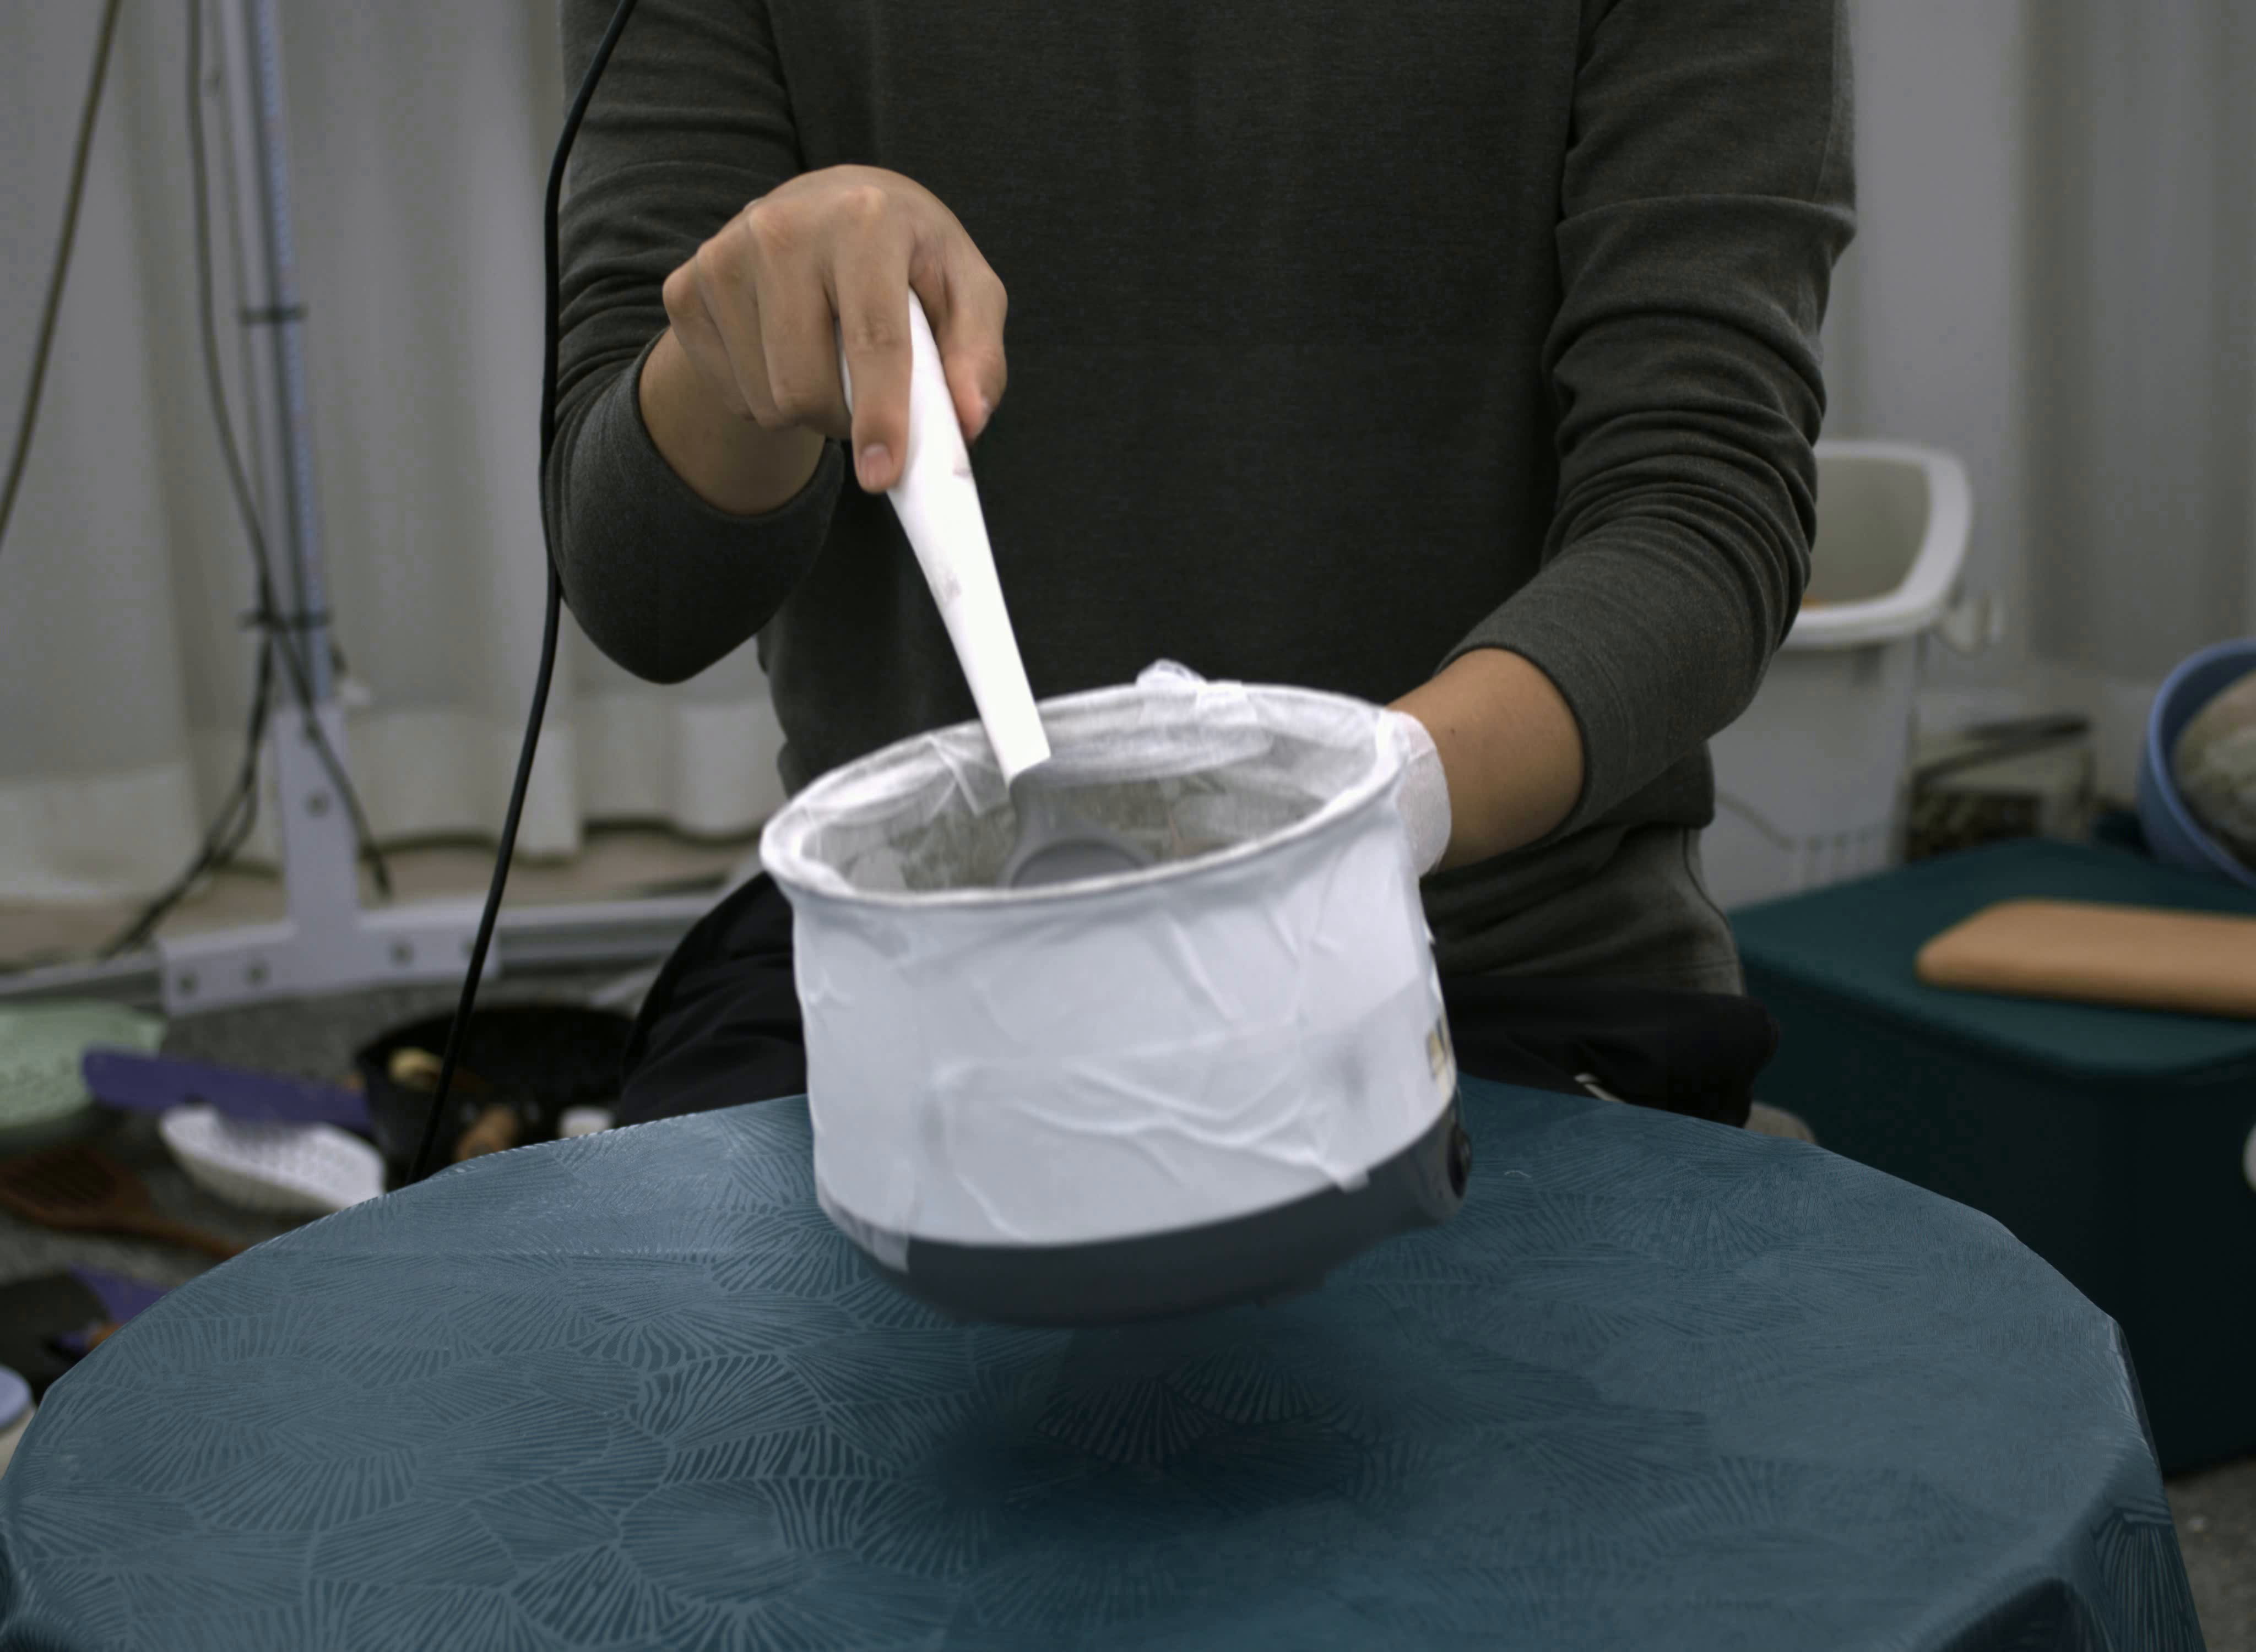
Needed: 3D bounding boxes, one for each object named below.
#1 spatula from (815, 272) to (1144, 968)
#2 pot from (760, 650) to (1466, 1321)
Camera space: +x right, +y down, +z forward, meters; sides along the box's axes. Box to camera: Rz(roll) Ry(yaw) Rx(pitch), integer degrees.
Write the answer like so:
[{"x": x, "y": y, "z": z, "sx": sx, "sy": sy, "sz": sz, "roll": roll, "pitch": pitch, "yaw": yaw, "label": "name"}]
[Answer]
[{"x": -0.039, "y": -0.048, "z": 1.545, "sx": 0.058, "sy": 0.032, "sz": 0.292, "roll": -13, "pitch": 50, "yaw": -9, "label": "spatula"}, {"x": 0.003, "y": 0.038, "z": 1.512, "sx": 0.178, "sy": 0.136, "sz": 0.235, "roll": -5, "pitch": 17, "yaw": 14, "label": "pot"}]
